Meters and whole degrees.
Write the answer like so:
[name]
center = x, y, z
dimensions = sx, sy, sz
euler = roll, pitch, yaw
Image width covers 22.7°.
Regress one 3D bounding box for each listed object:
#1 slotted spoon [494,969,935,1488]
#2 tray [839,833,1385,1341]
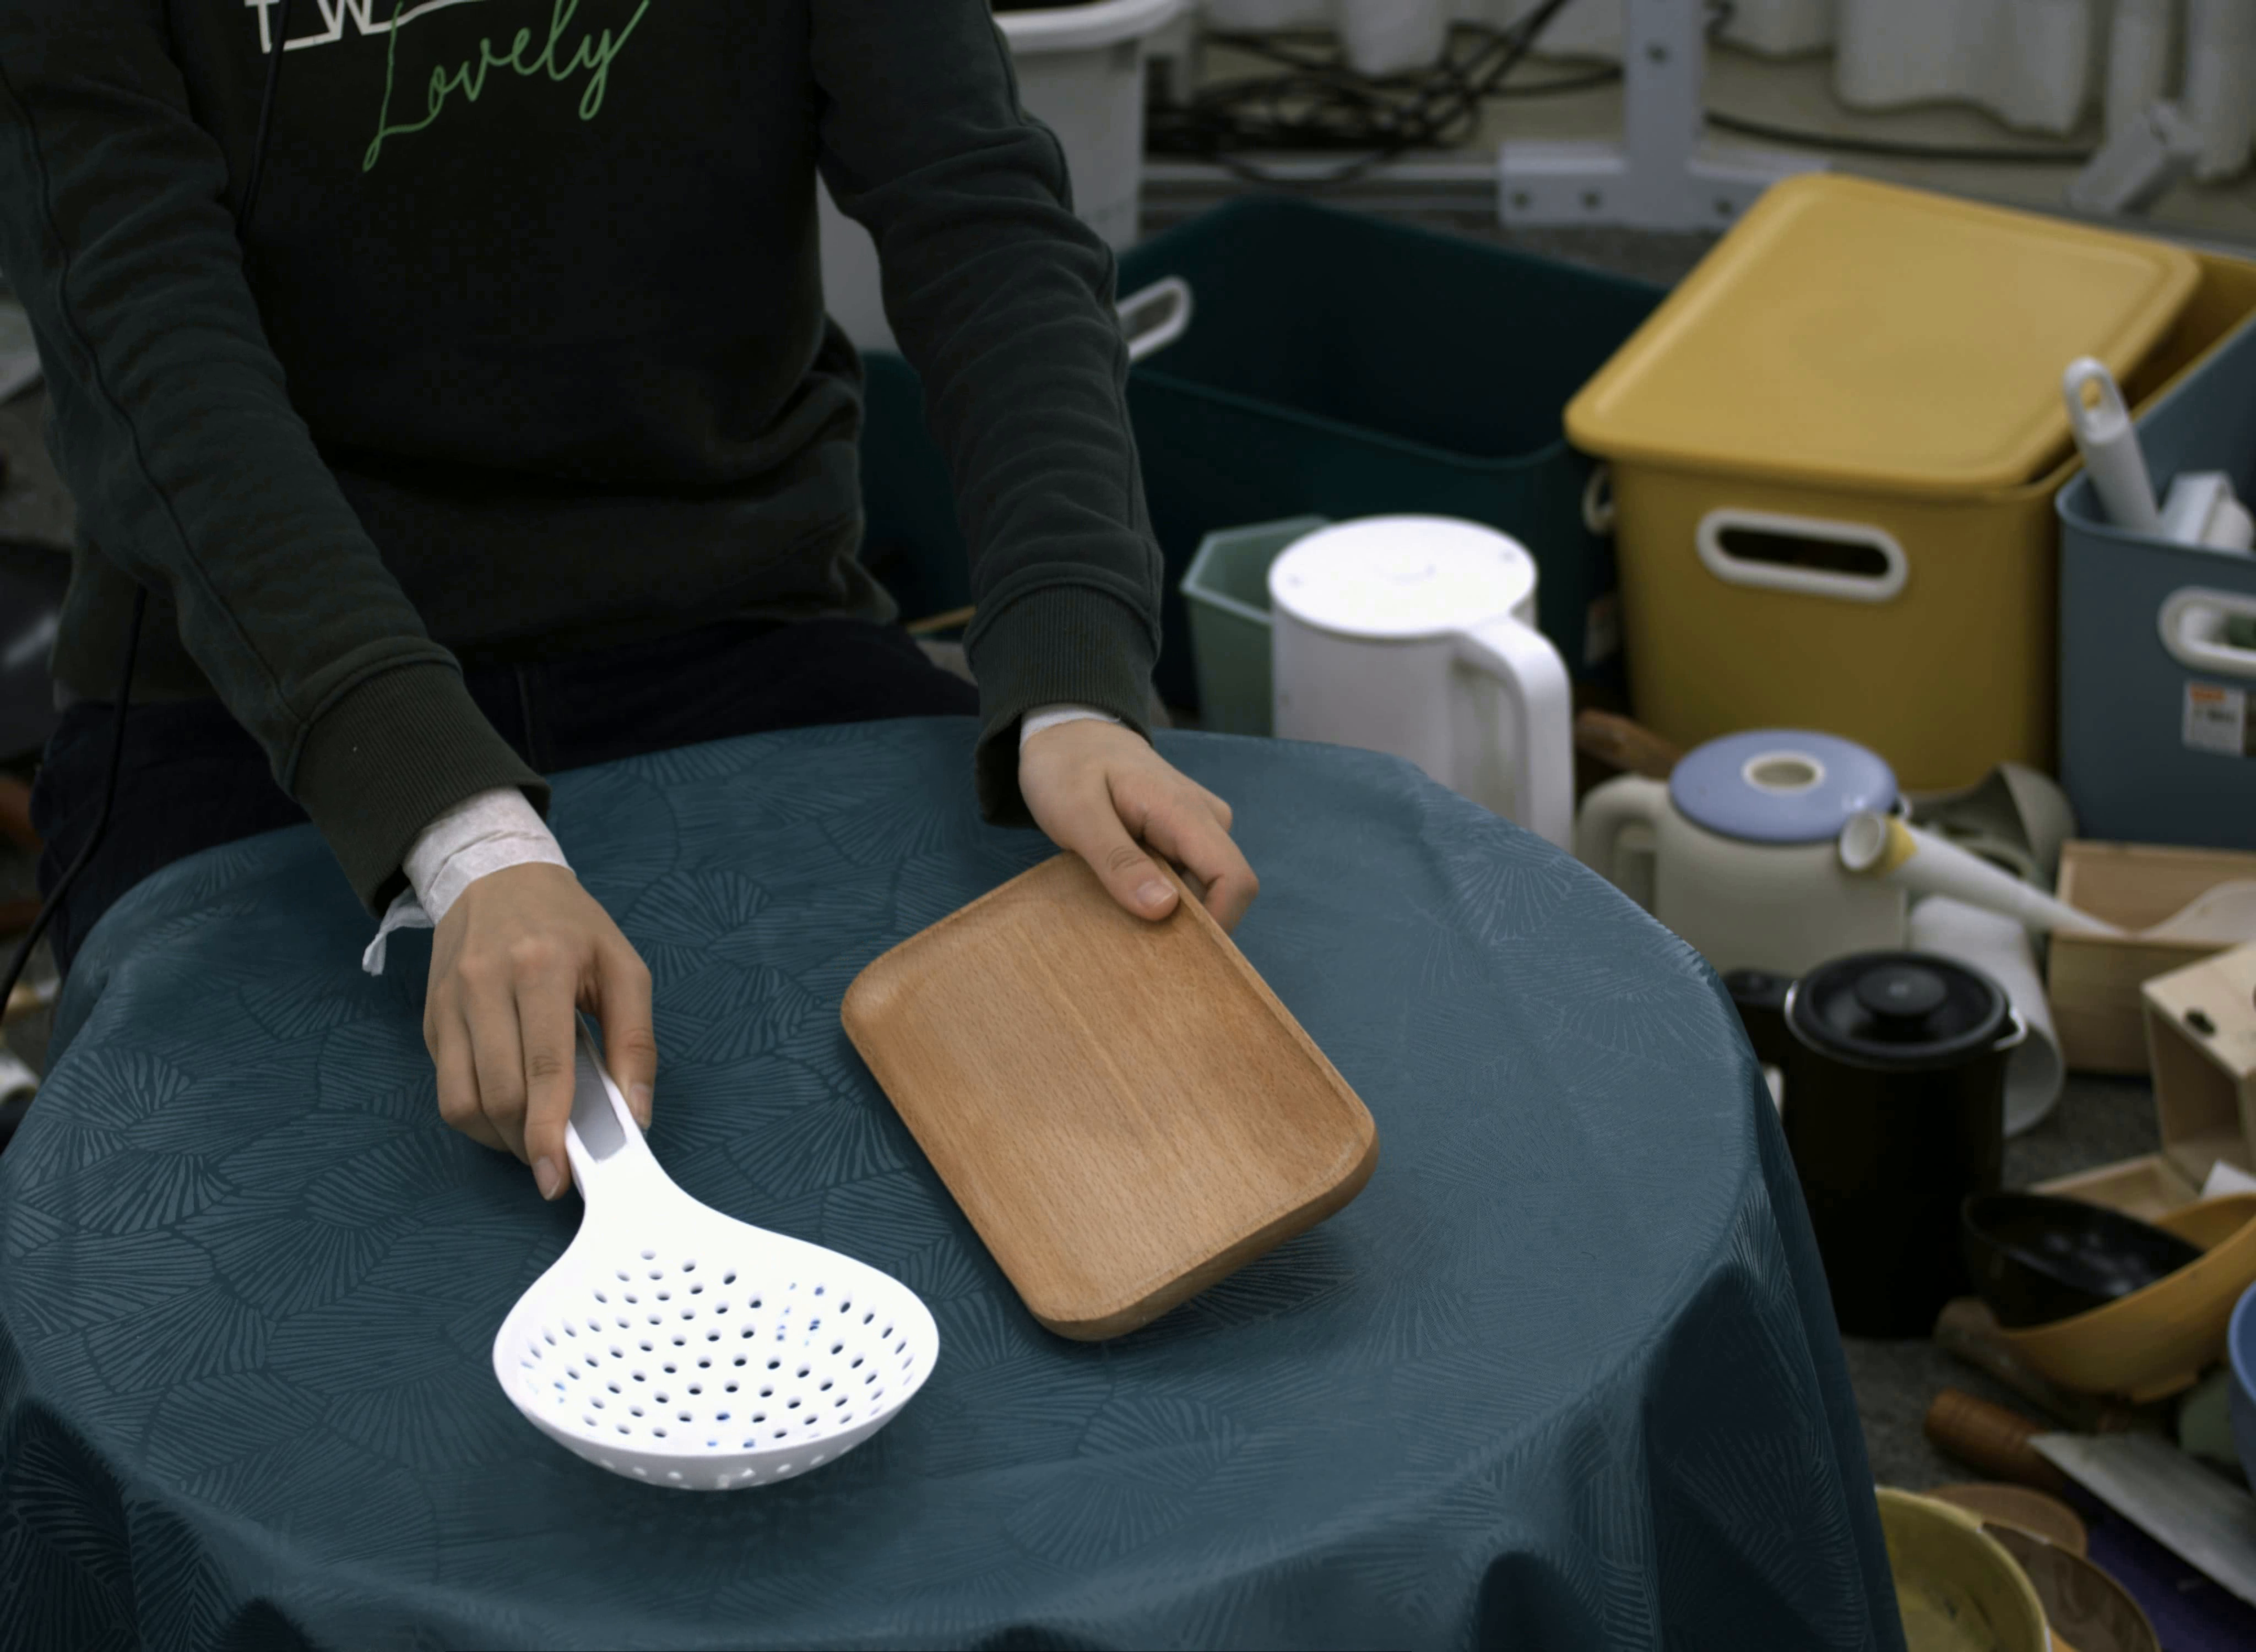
[slotted spoon]
center = -0.159, 0.124, 1.814
dimensions = 0.136, 0.045, 0.353
euler = -6, 28, -16
[tray]
center = -0.008, 0.084, 1.875
dimensions = 0.131, 0.022, 0.253
euler = -27, 31, -8
